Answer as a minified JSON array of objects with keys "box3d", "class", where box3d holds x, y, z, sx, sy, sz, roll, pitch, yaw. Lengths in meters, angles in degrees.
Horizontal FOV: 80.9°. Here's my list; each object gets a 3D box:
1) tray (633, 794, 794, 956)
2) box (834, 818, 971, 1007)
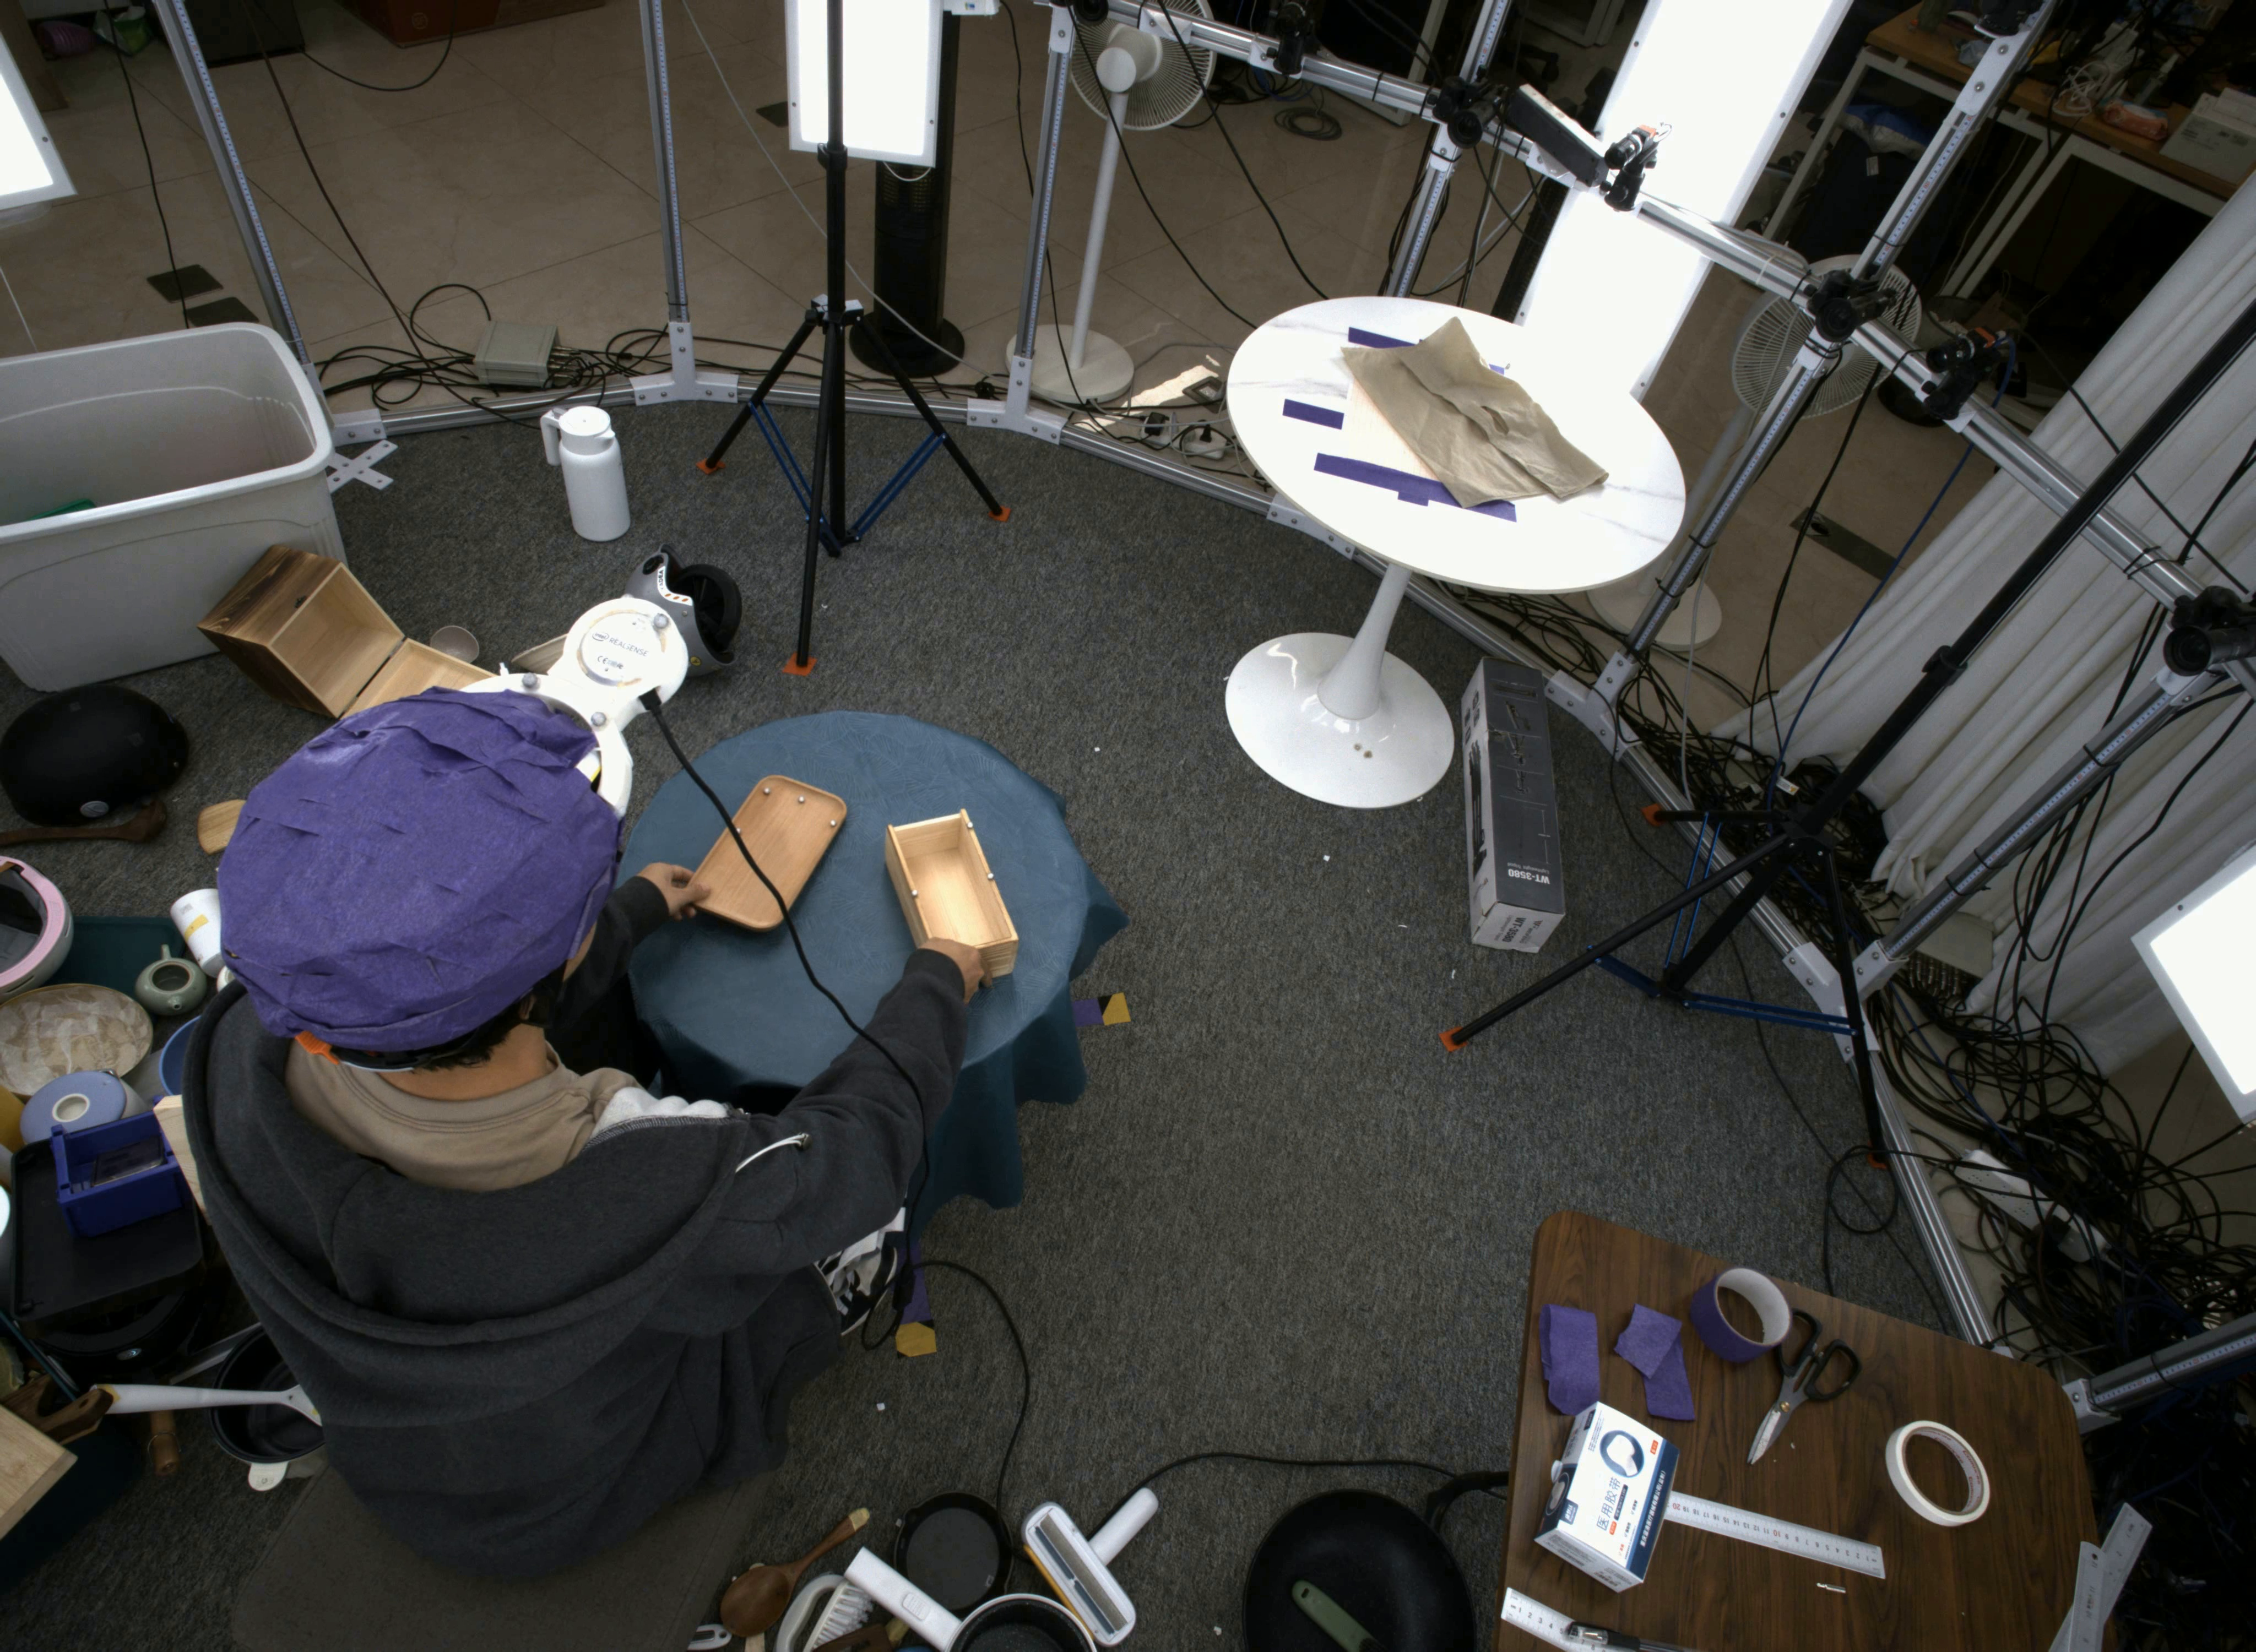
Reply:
[{"box3d":[-0.521,0.057,1.632,0.129,0.023,0.247,17,46,-1],"class":"tray"},{"box3d":[-0.286,0.105,1.635,0.108,0.082,0.206,-16,59,-24],"class":"box"}]
